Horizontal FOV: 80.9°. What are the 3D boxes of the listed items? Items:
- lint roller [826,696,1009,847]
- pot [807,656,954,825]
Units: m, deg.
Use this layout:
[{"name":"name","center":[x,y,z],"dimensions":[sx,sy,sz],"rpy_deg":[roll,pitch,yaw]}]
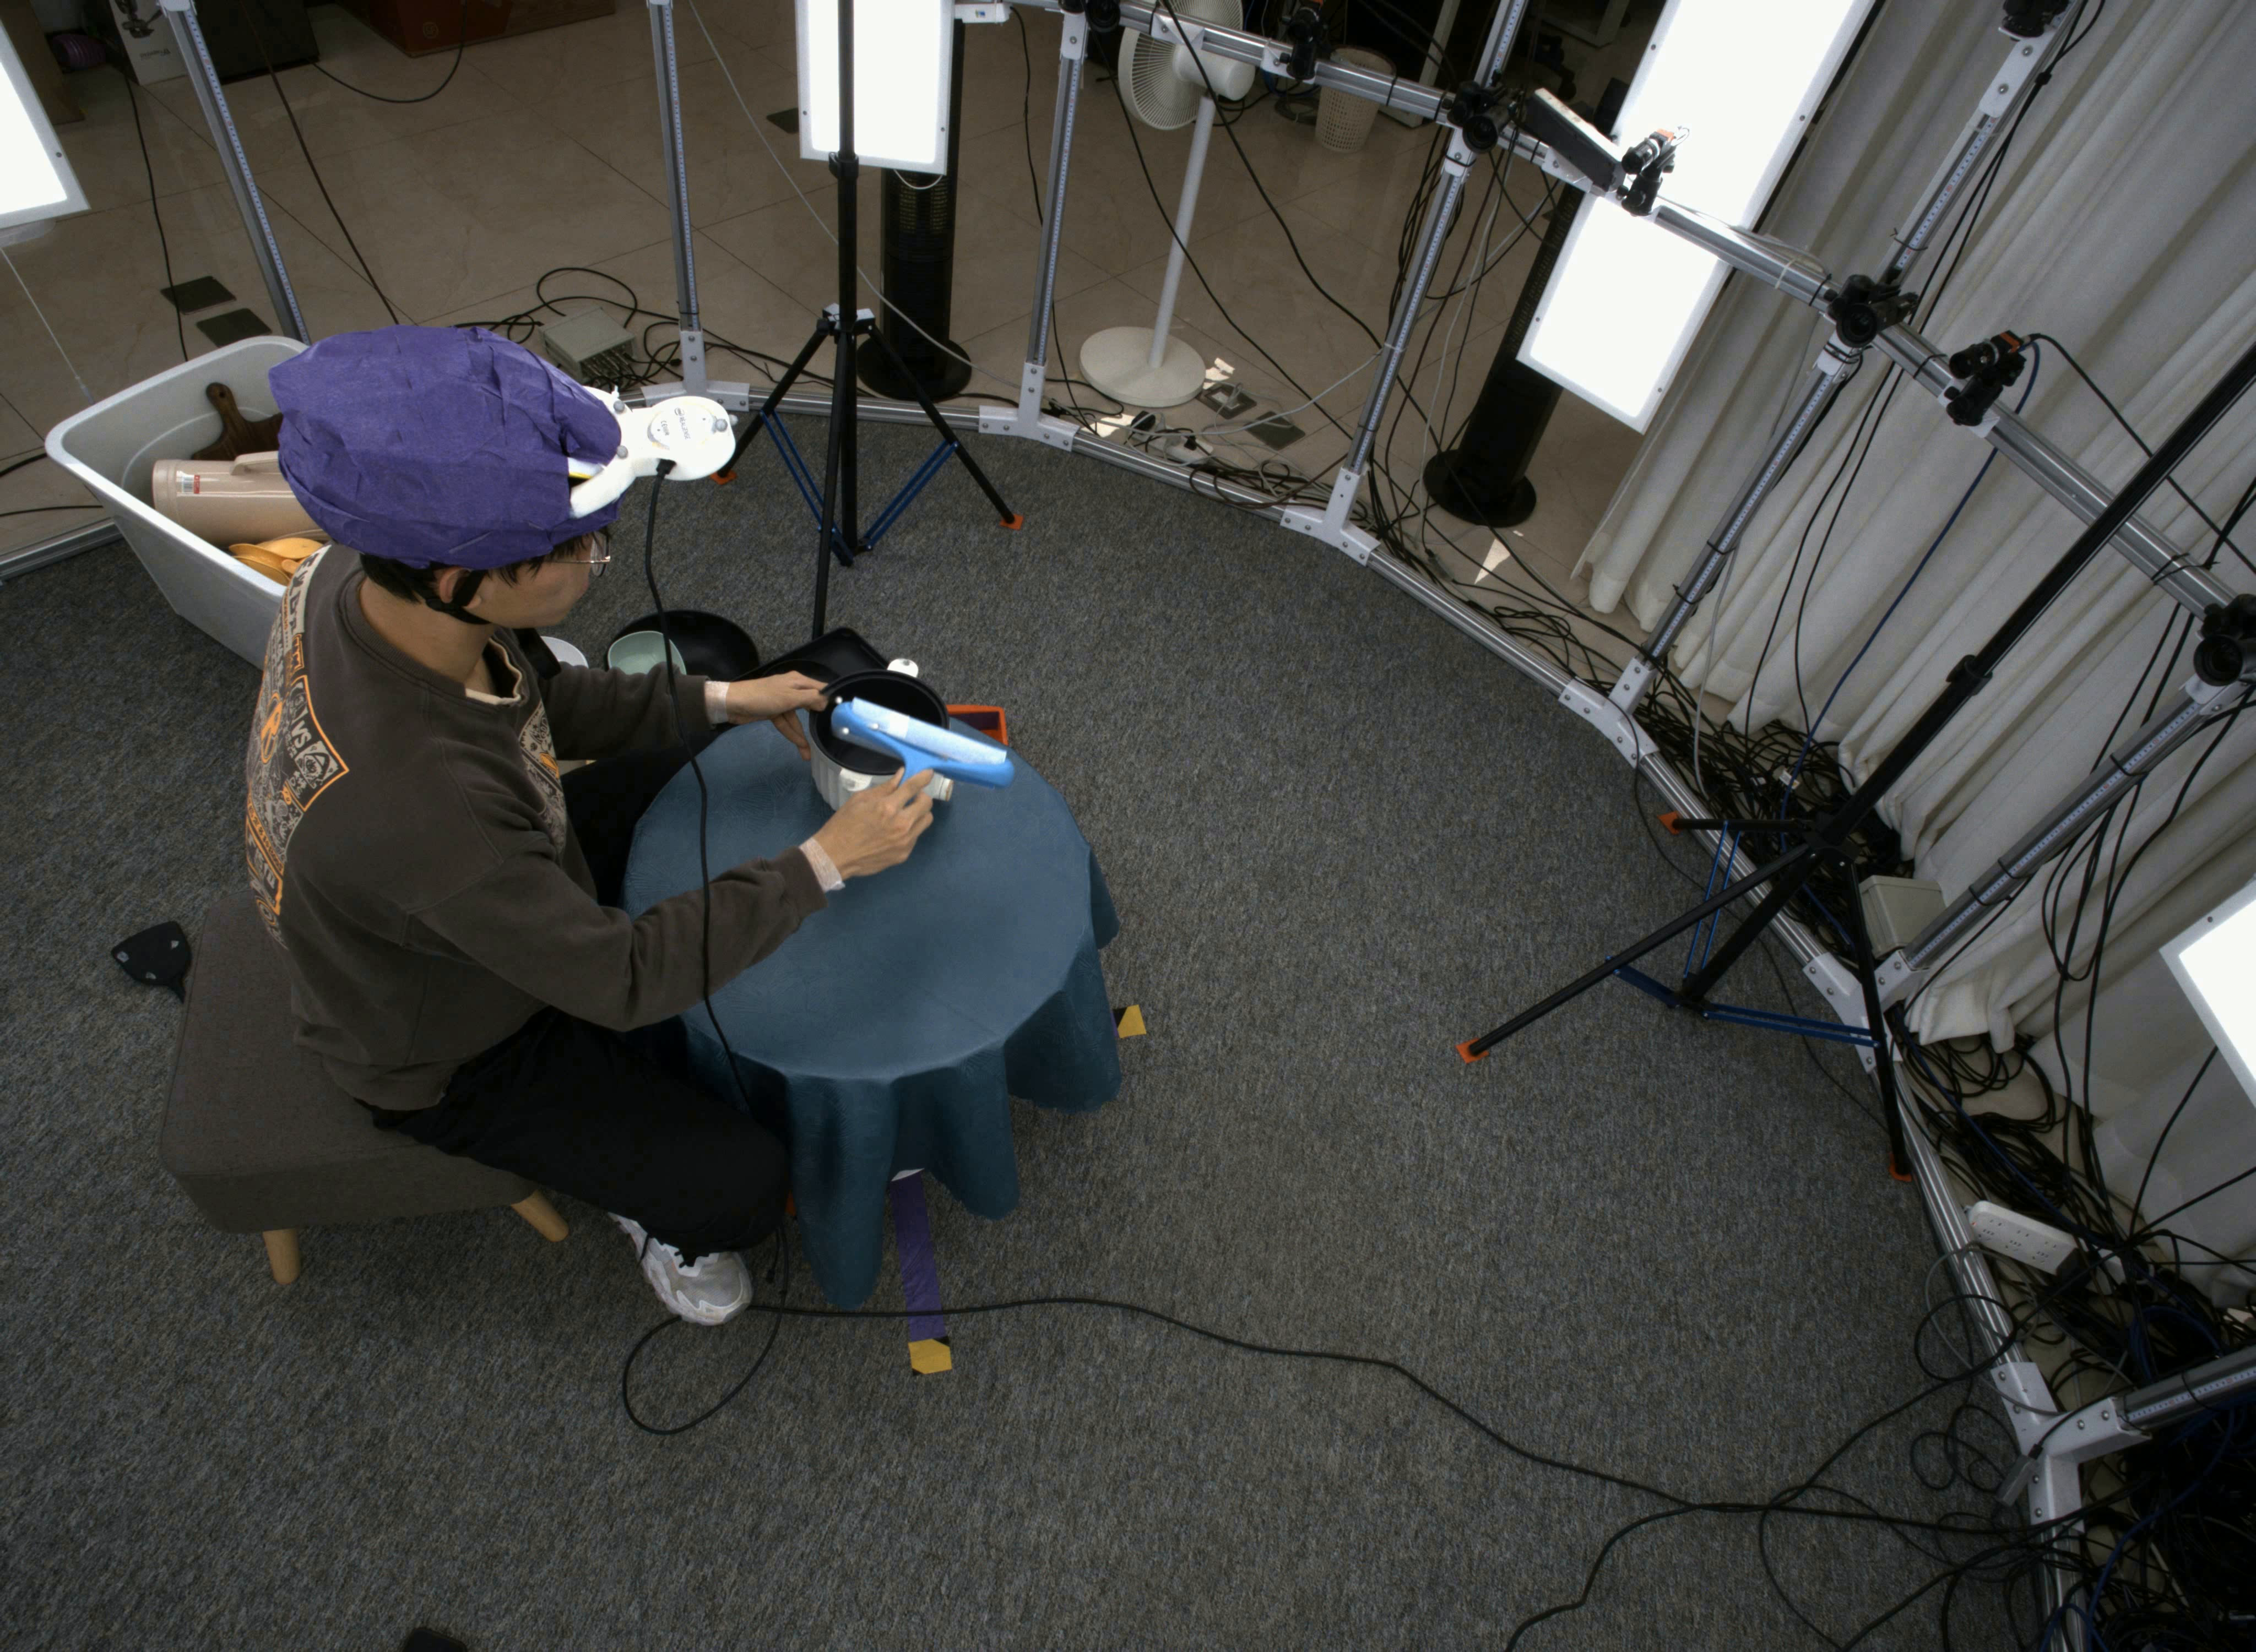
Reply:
[{"name":"lint roller","center":[-0.257,-0.058,1.528],"dimensions":[0.231,0.068,0.177],"rpy_deg":[19,43,-14]},{"name":"pot","center":[-0.329,-0.098,1.745],"dimensions":[0.188,0.146,0.237],"rpy_deg":[12,53,1]}]
